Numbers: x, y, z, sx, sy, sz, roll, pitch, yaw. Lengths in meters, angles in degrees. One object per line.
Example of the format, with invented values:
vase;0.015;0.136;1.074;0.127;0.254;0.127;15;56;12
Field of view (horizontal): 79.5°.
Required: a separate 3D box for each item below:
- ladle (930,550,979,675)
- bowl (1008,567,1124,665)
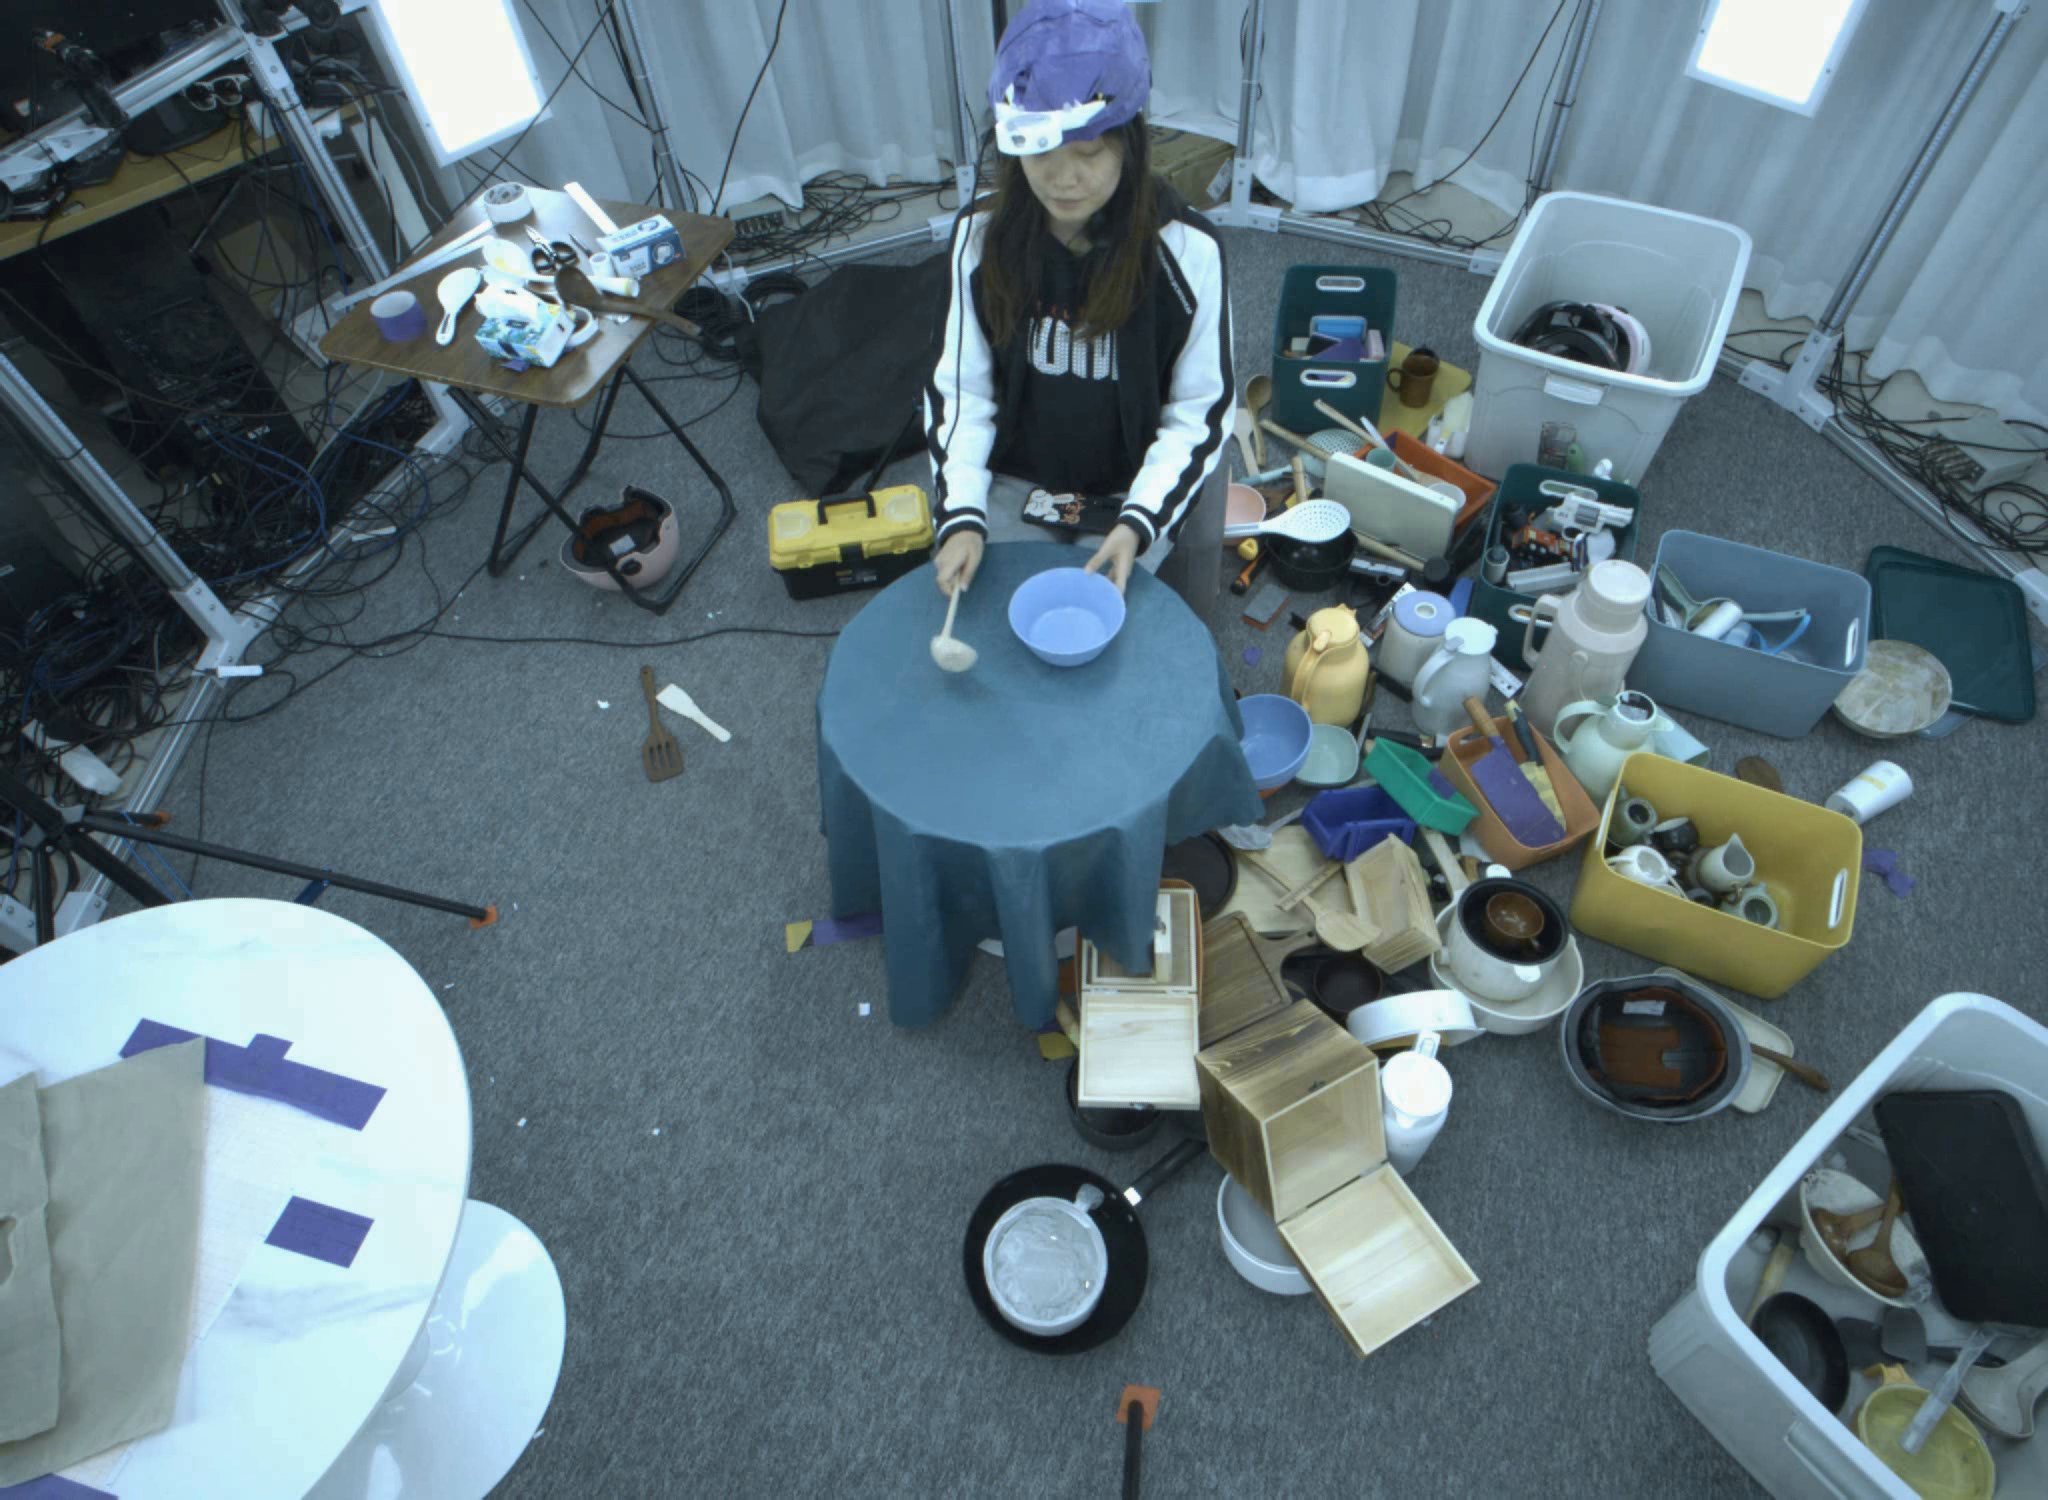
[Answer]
ladle;-0.097;-0.226;1.866;0.074;0.072;0.252;29;50;-33
bowl;0.064;-0.195;1.881;0.176;0.071;0.174;0;55;1
